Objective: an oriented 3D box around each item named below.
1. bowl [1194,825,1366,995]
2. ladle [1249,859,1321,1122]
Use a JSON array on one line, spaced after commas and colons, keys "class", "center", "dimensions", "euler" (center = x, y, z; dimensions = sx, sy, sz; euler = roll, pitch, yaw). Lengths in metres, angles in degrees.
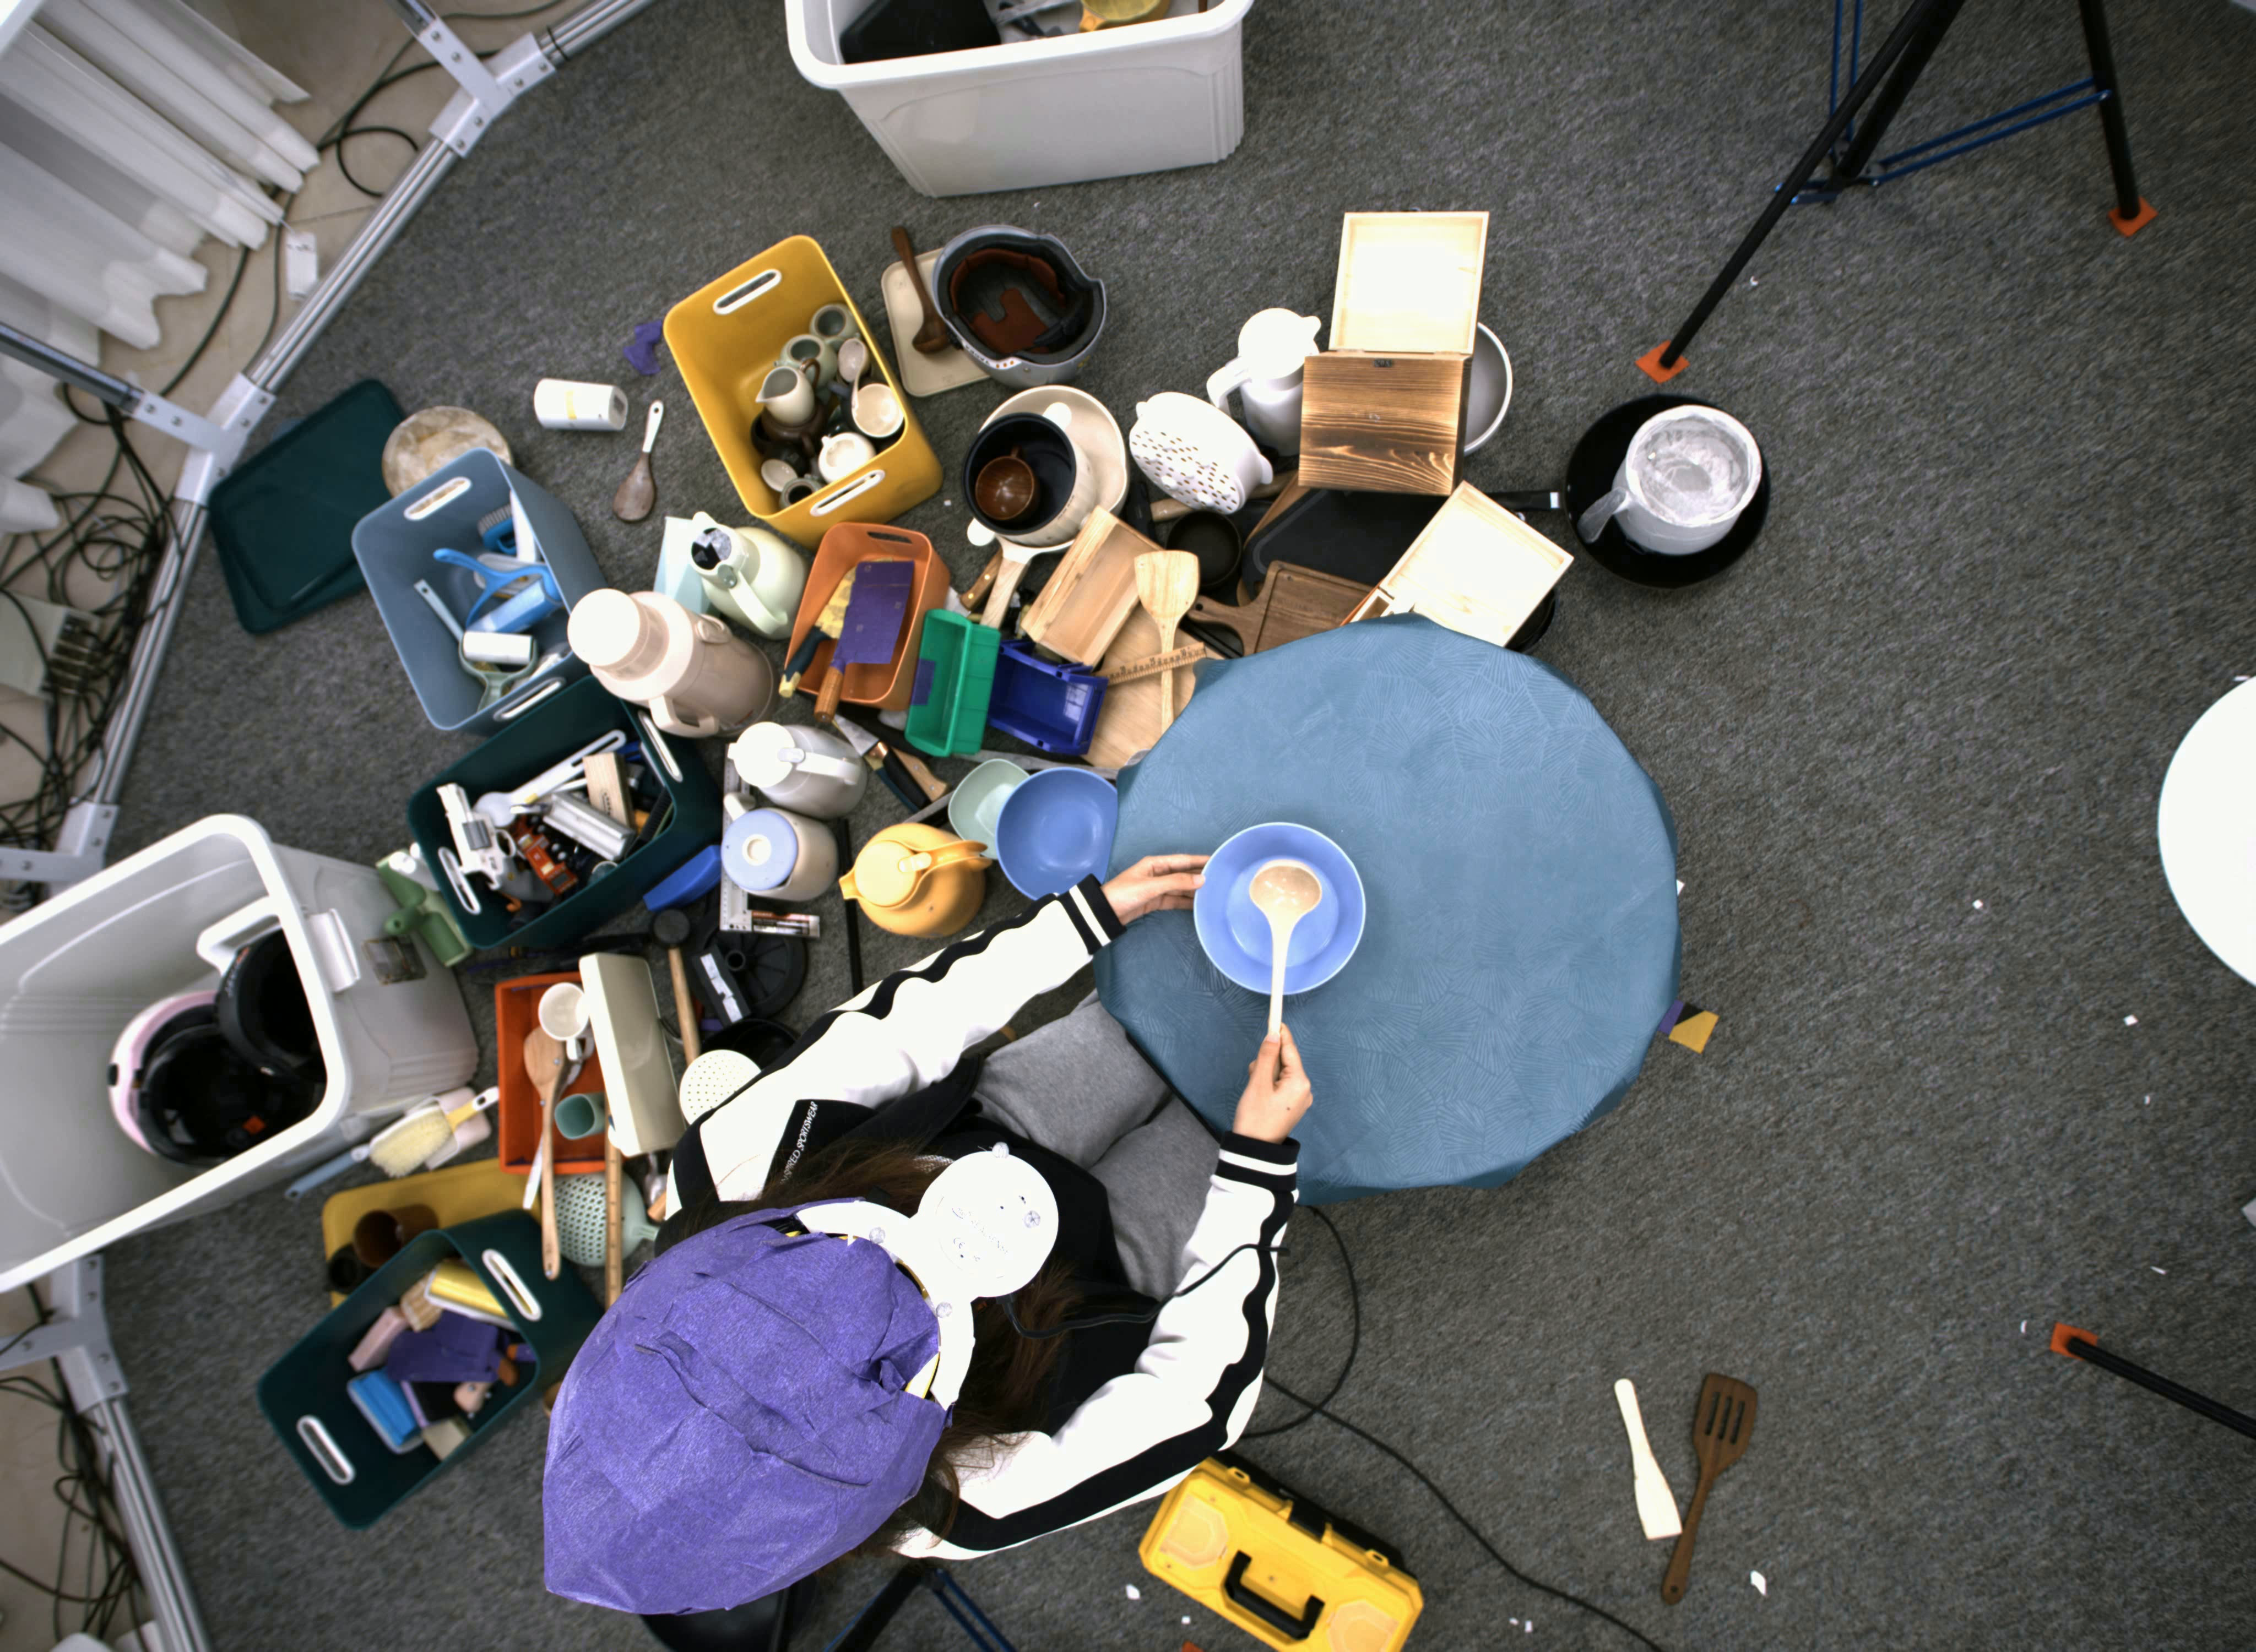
[{"class": "bowl", "center": [0.160, 0.088, 1.444], "dimensions": [0.177, 0.070, 0.175], "euler": [-1, 86, 11]}, {"class": "ladle", "center": [0.150, 0.155, 1.354], "dimensions": [0.072, 0.074, 0.250], "euler": [2, 72, 8]}]
